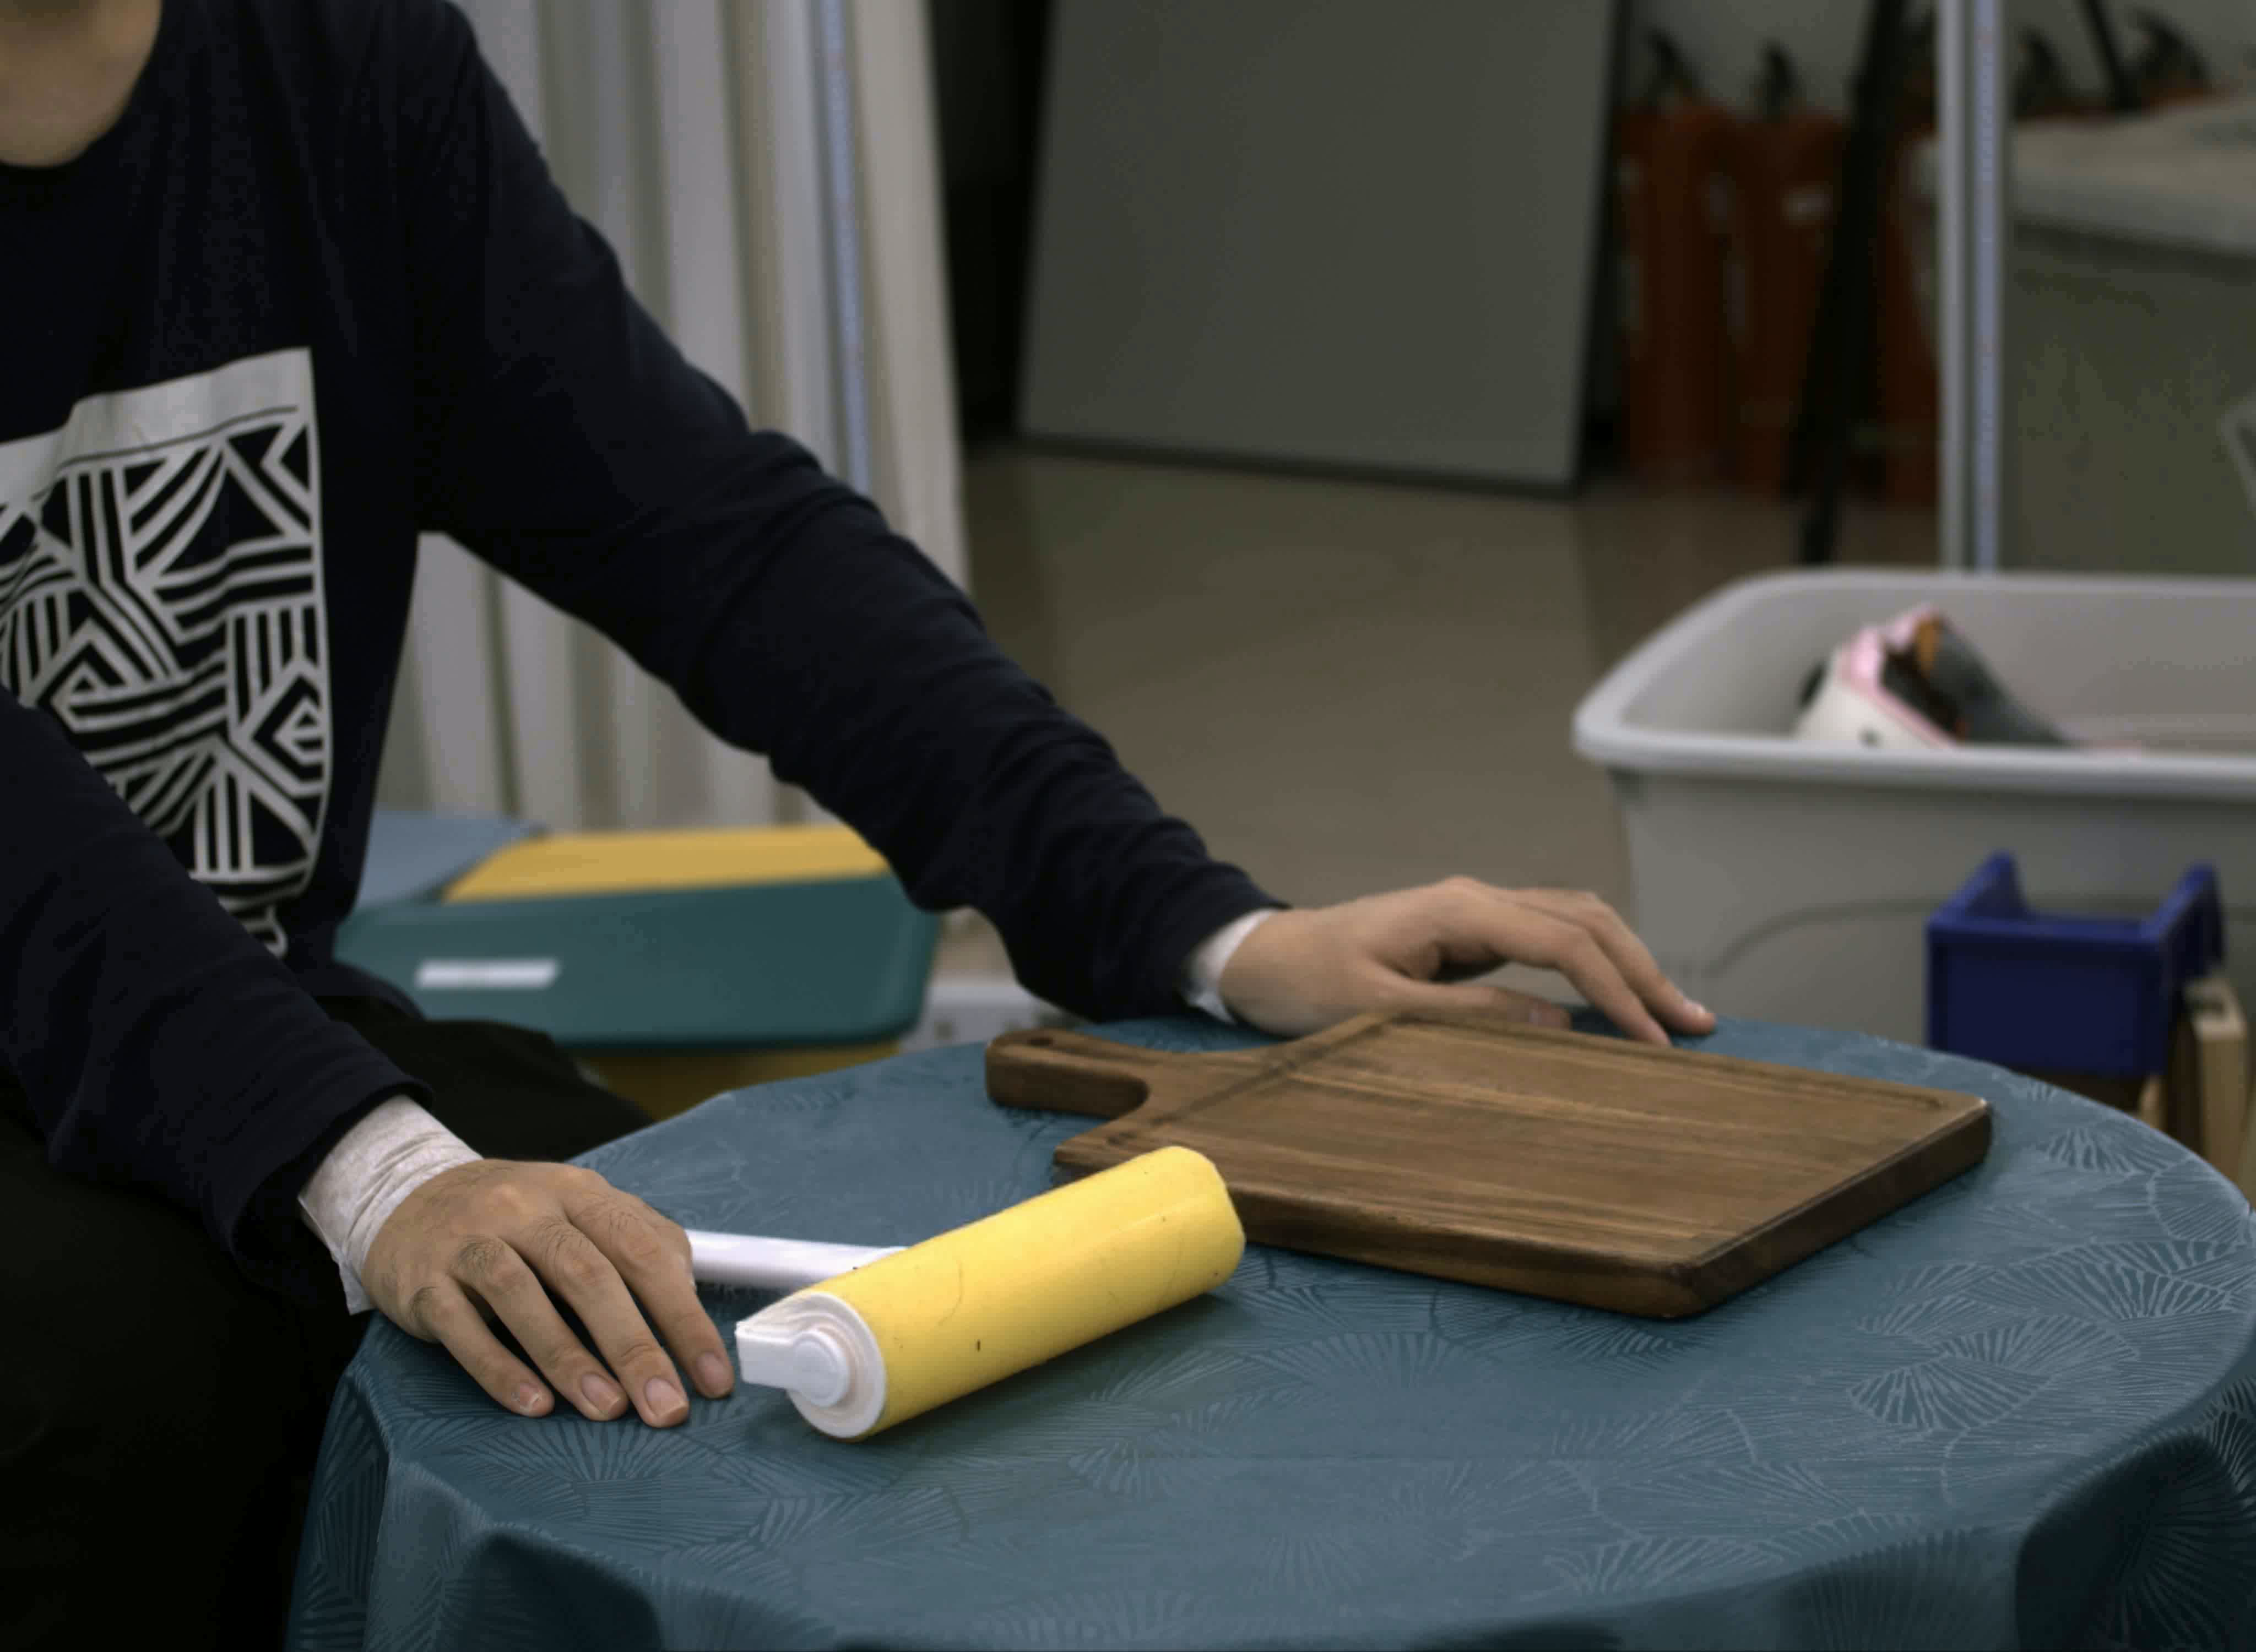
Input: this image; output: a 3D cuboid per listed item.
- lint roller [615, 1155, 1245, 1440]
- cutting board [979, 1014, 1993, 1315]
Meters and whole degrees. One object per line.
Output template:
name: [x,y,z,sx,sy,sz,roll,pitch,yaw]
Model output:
lint roller: [-0.087,0.131,1.657,0.193,0.052,0.171,11,19,40]
cutting board: [0.091,0.102,1.785,0.355,0.023,0.197,7,17,39]
